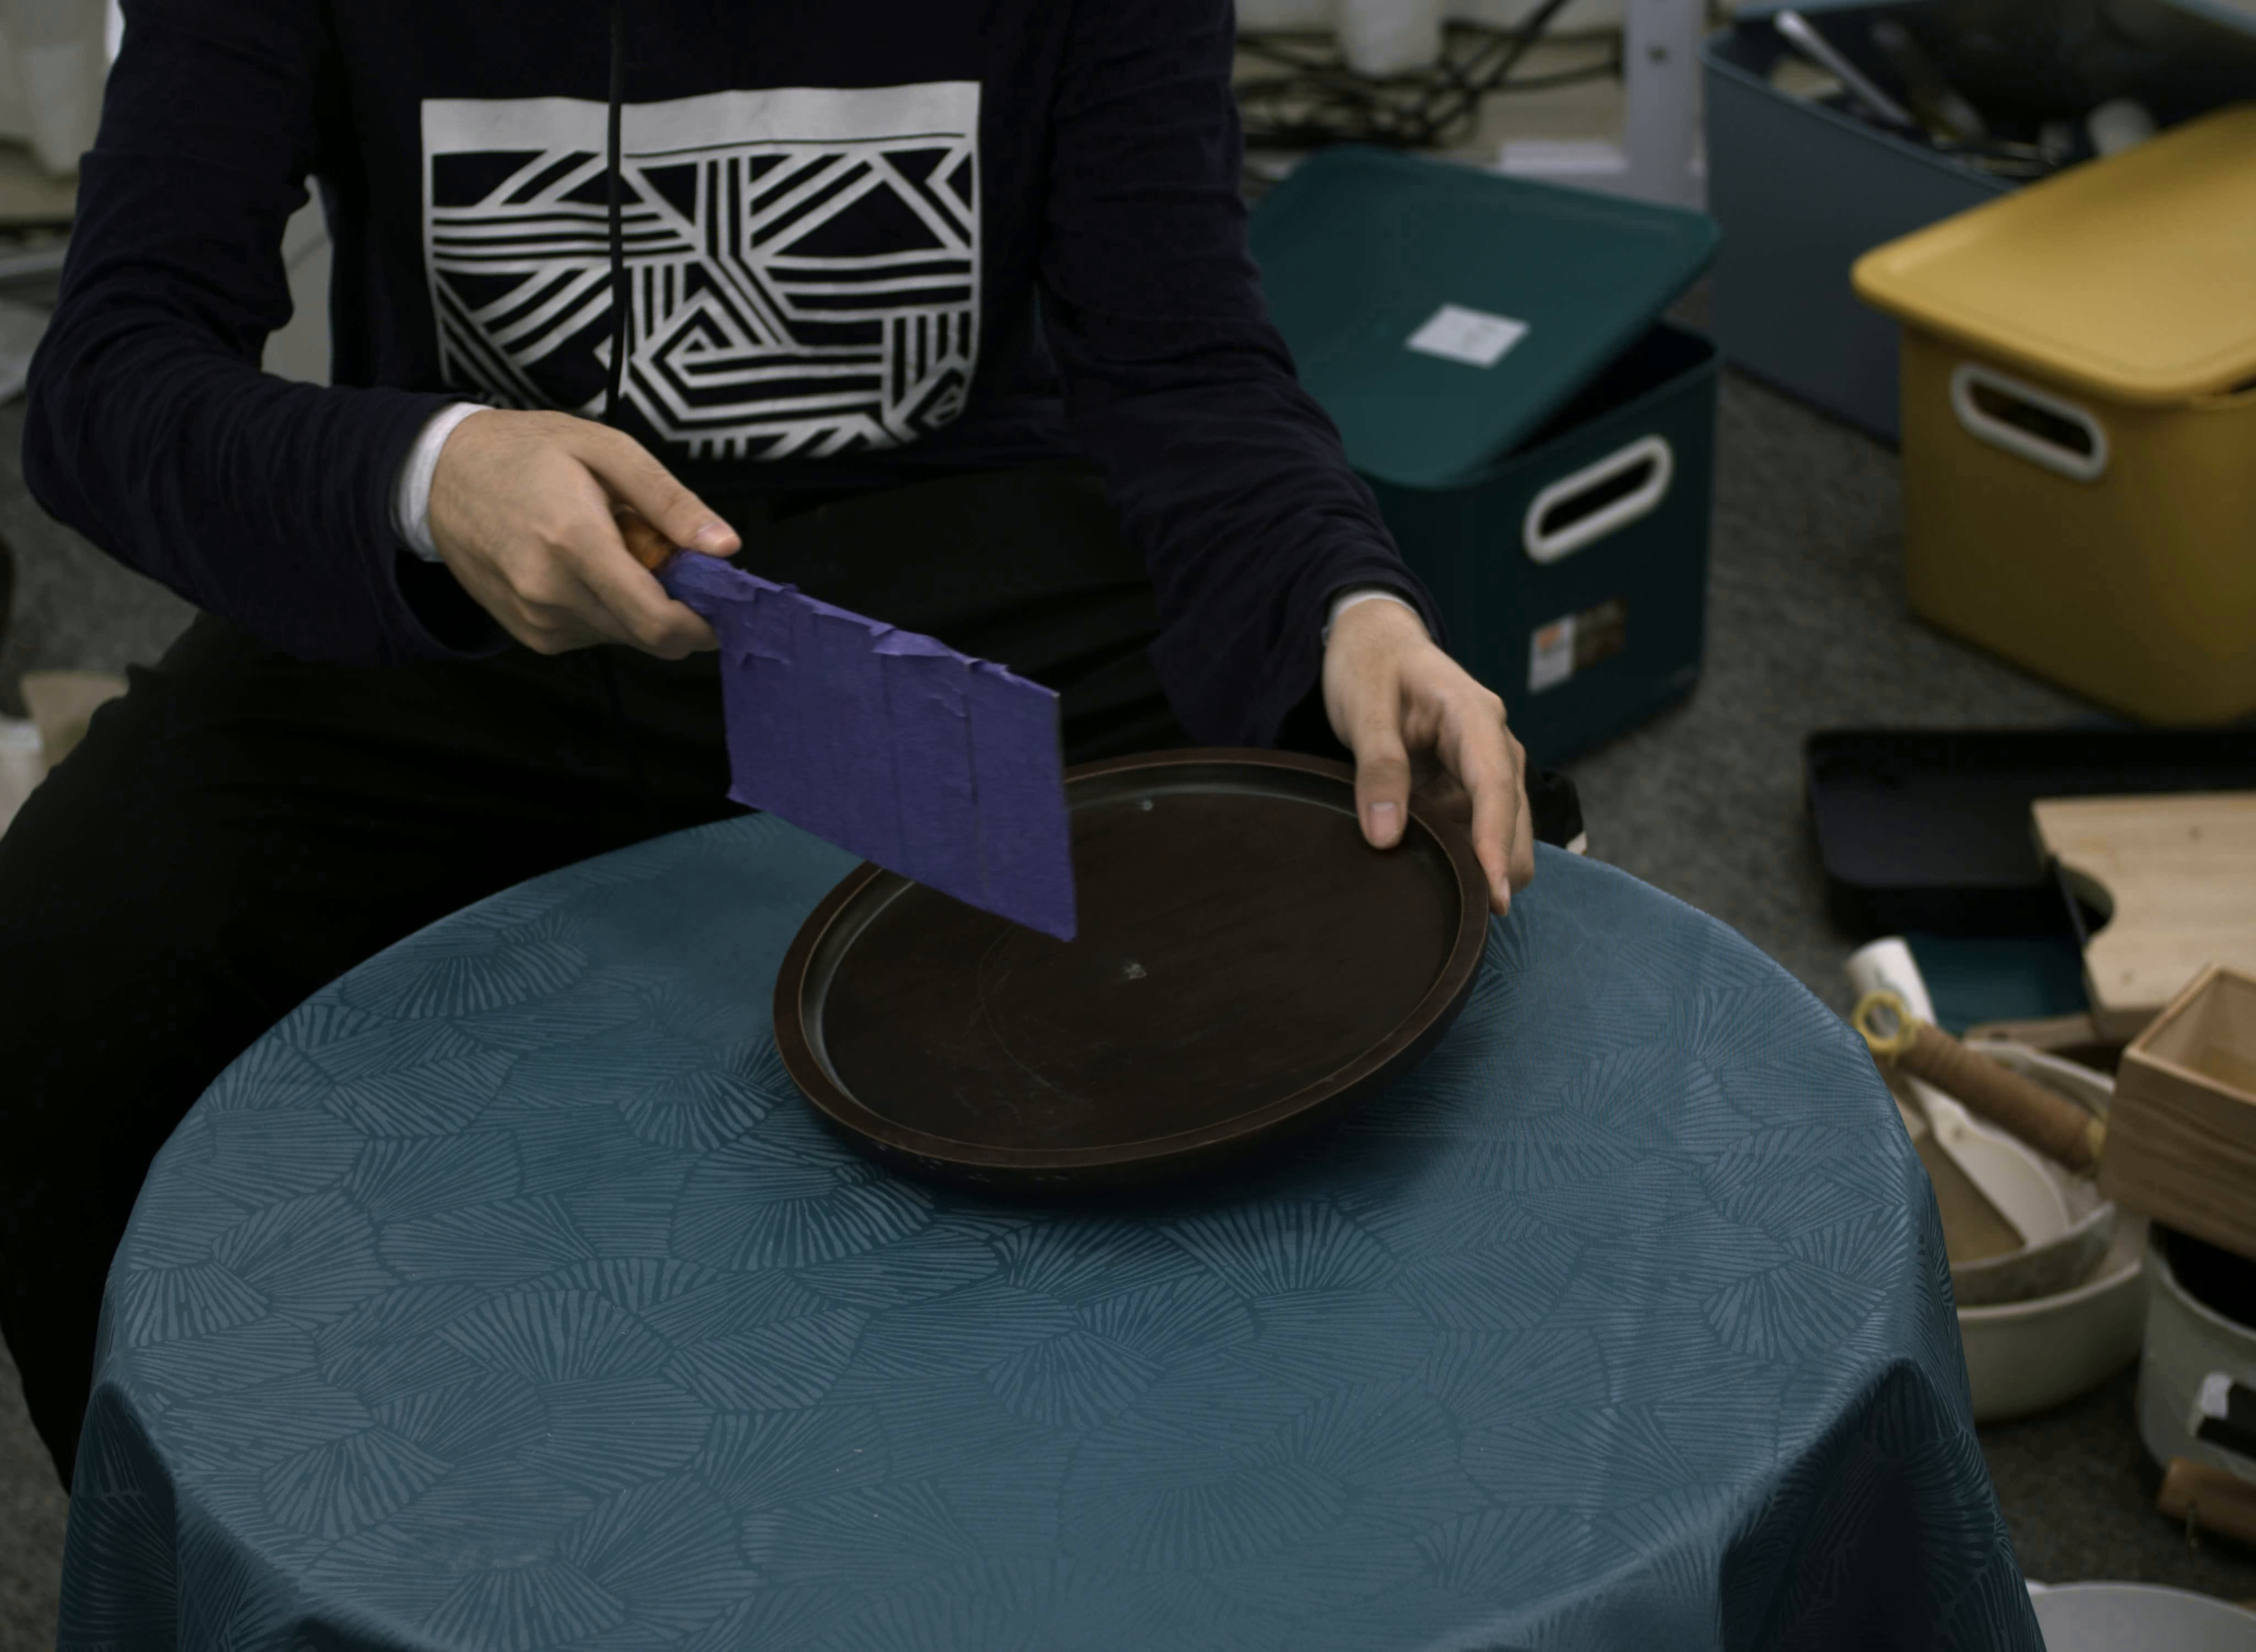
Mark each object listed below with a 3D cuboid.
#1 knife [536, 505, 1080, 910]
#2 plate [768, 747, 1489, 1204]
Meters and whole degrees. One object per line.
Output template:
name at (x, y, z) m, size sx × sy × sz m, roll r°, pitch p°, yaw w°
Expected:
knife at (-0.114, -0.040, 1.939) m, size 0.032 × 0.103 × 0.315 m, roll -14°, pitch 21°, yaw -32°
plate at (0.001, 0.050, 1.939) m, size 0.253 × 0.029 × 0.259 m, roll -9°, pitch 32°, yaw 6°
